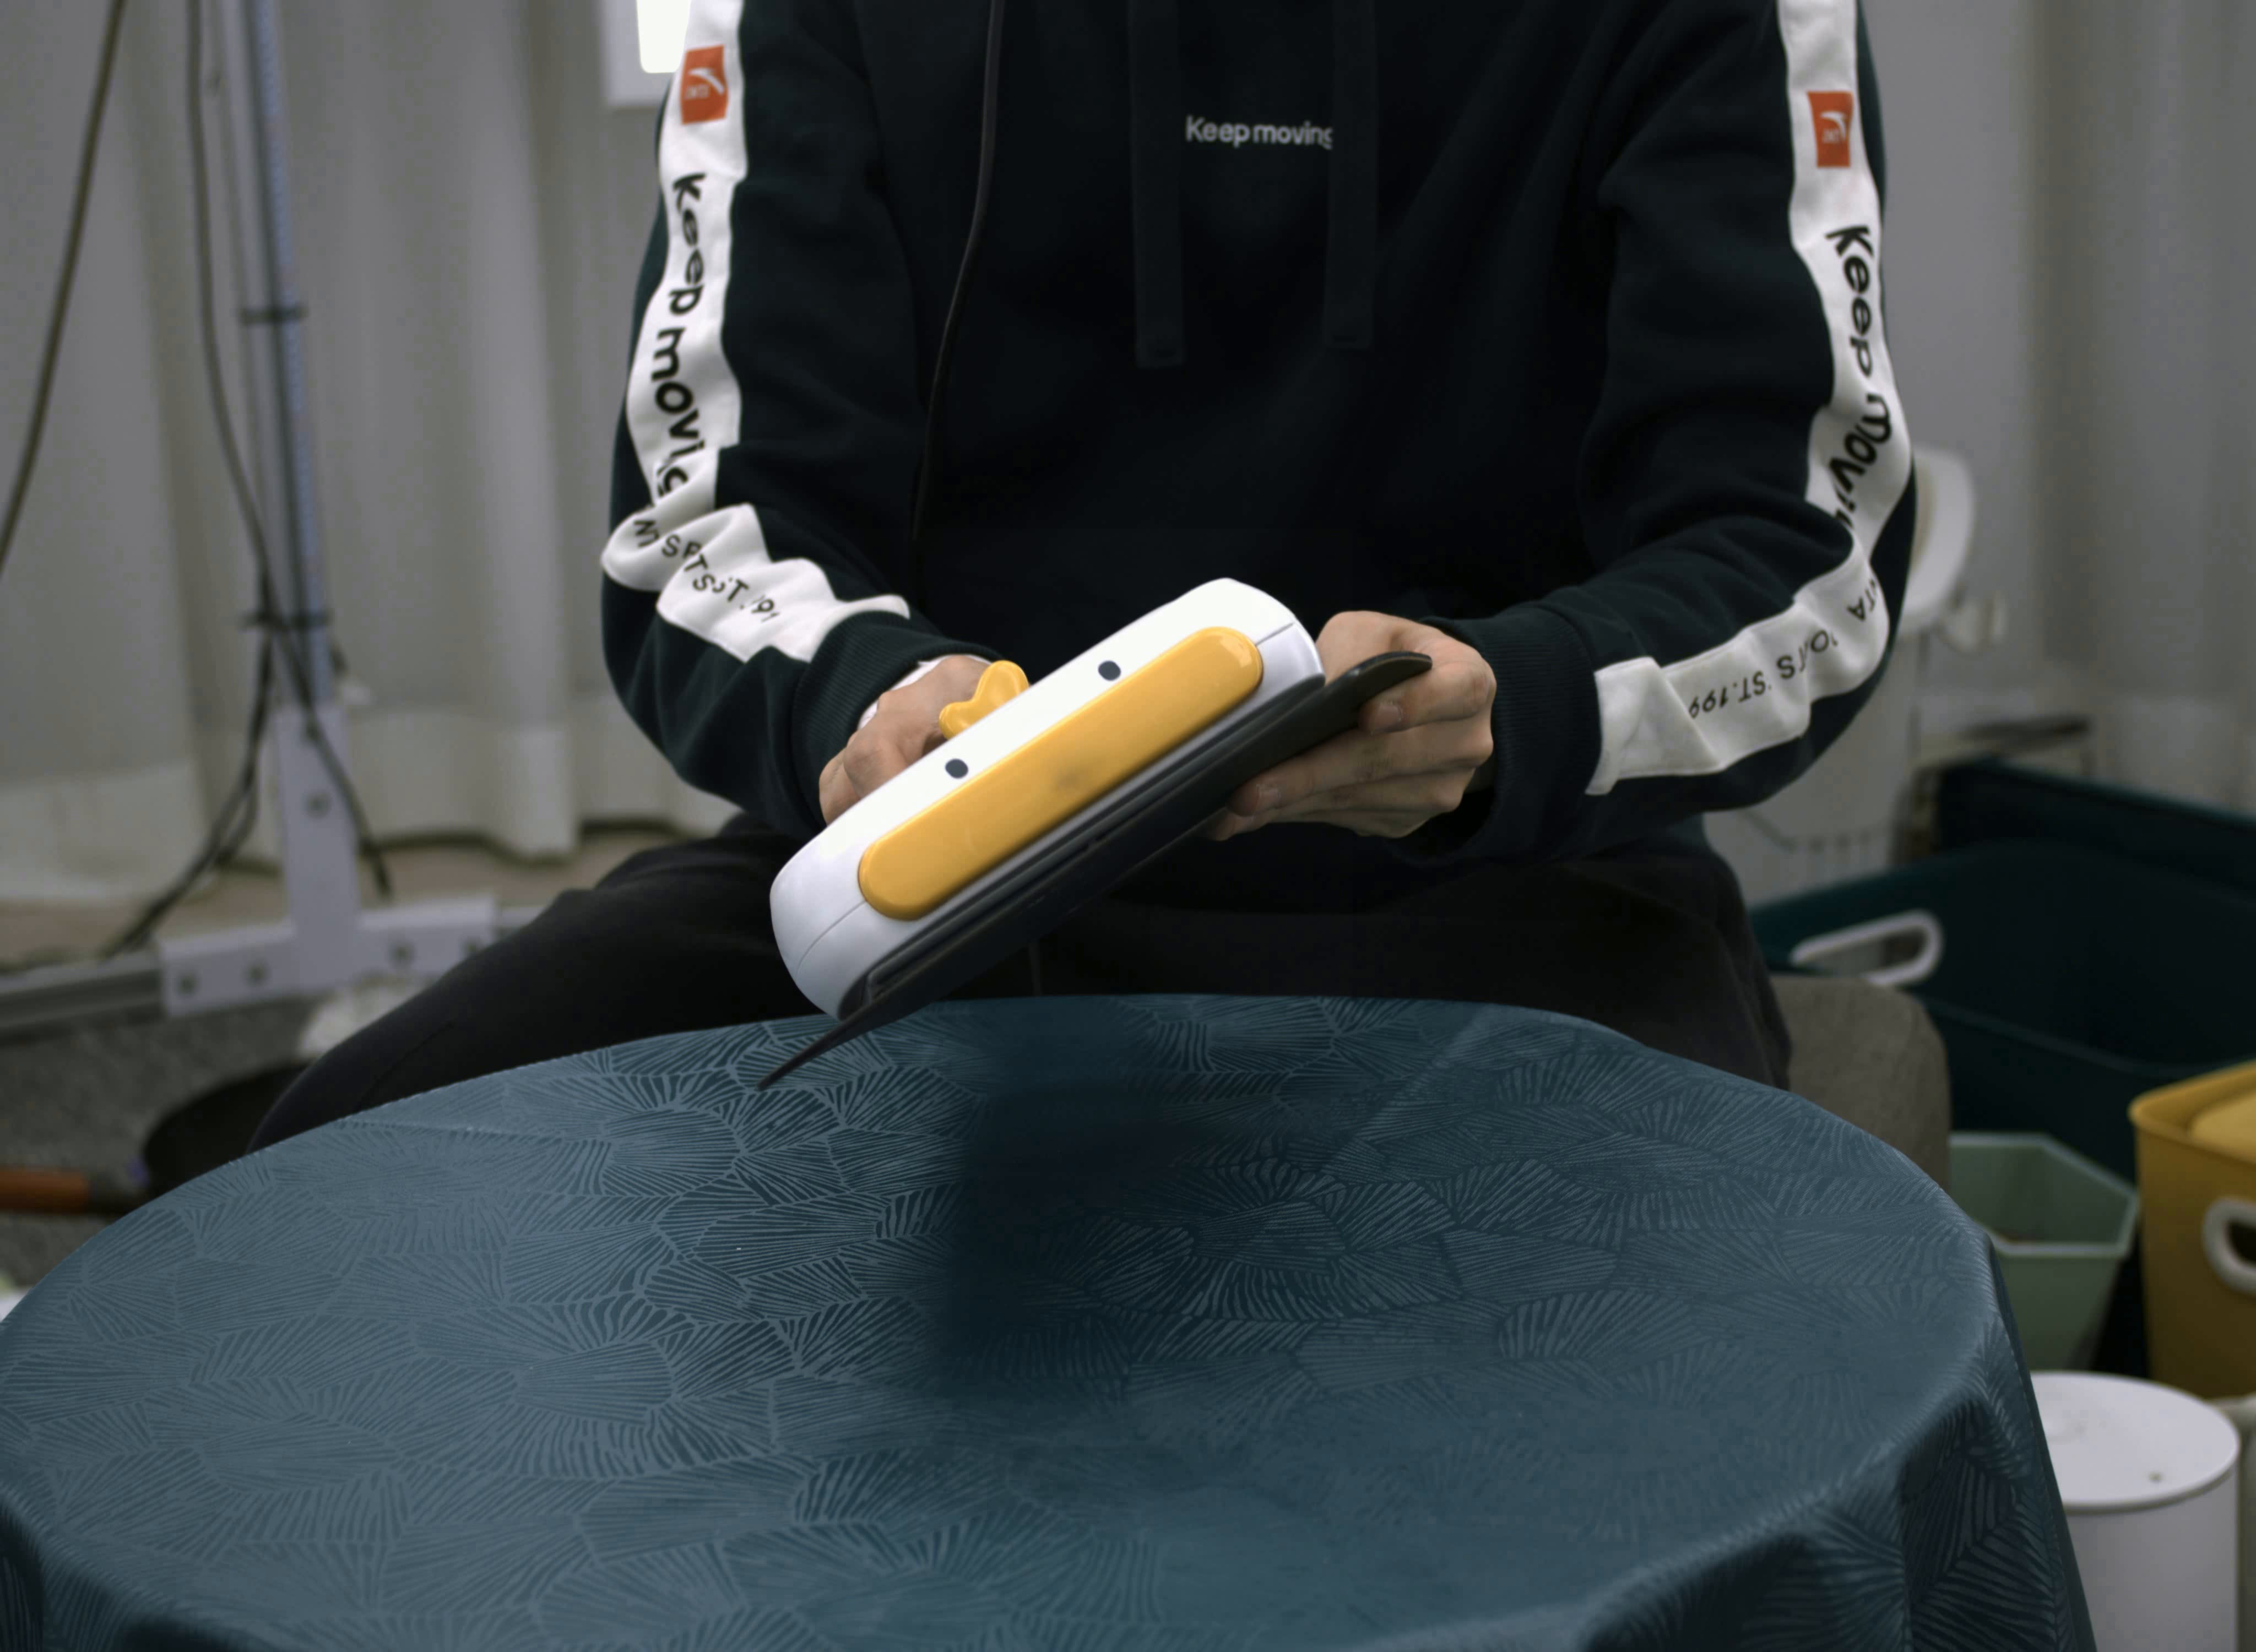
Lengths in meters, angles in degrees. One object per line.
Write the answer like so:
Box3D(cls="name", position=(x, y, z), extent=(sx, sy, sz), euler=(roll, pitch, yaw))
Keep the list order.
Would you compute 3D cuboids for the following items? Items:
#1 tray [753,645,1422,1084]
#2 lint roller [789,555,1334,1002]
Box3D(cls="tray", position=(-0.006, 0.008, 1.657), extent=(0.210, 0.010, 0.325), euler=(-35, -2, 8))
Box3D(cls="lint roller", position=(-0.038, -0.005, 1.740), extent=(0.193, 0.074, 0.191), euler=(-38, -3, -21))
